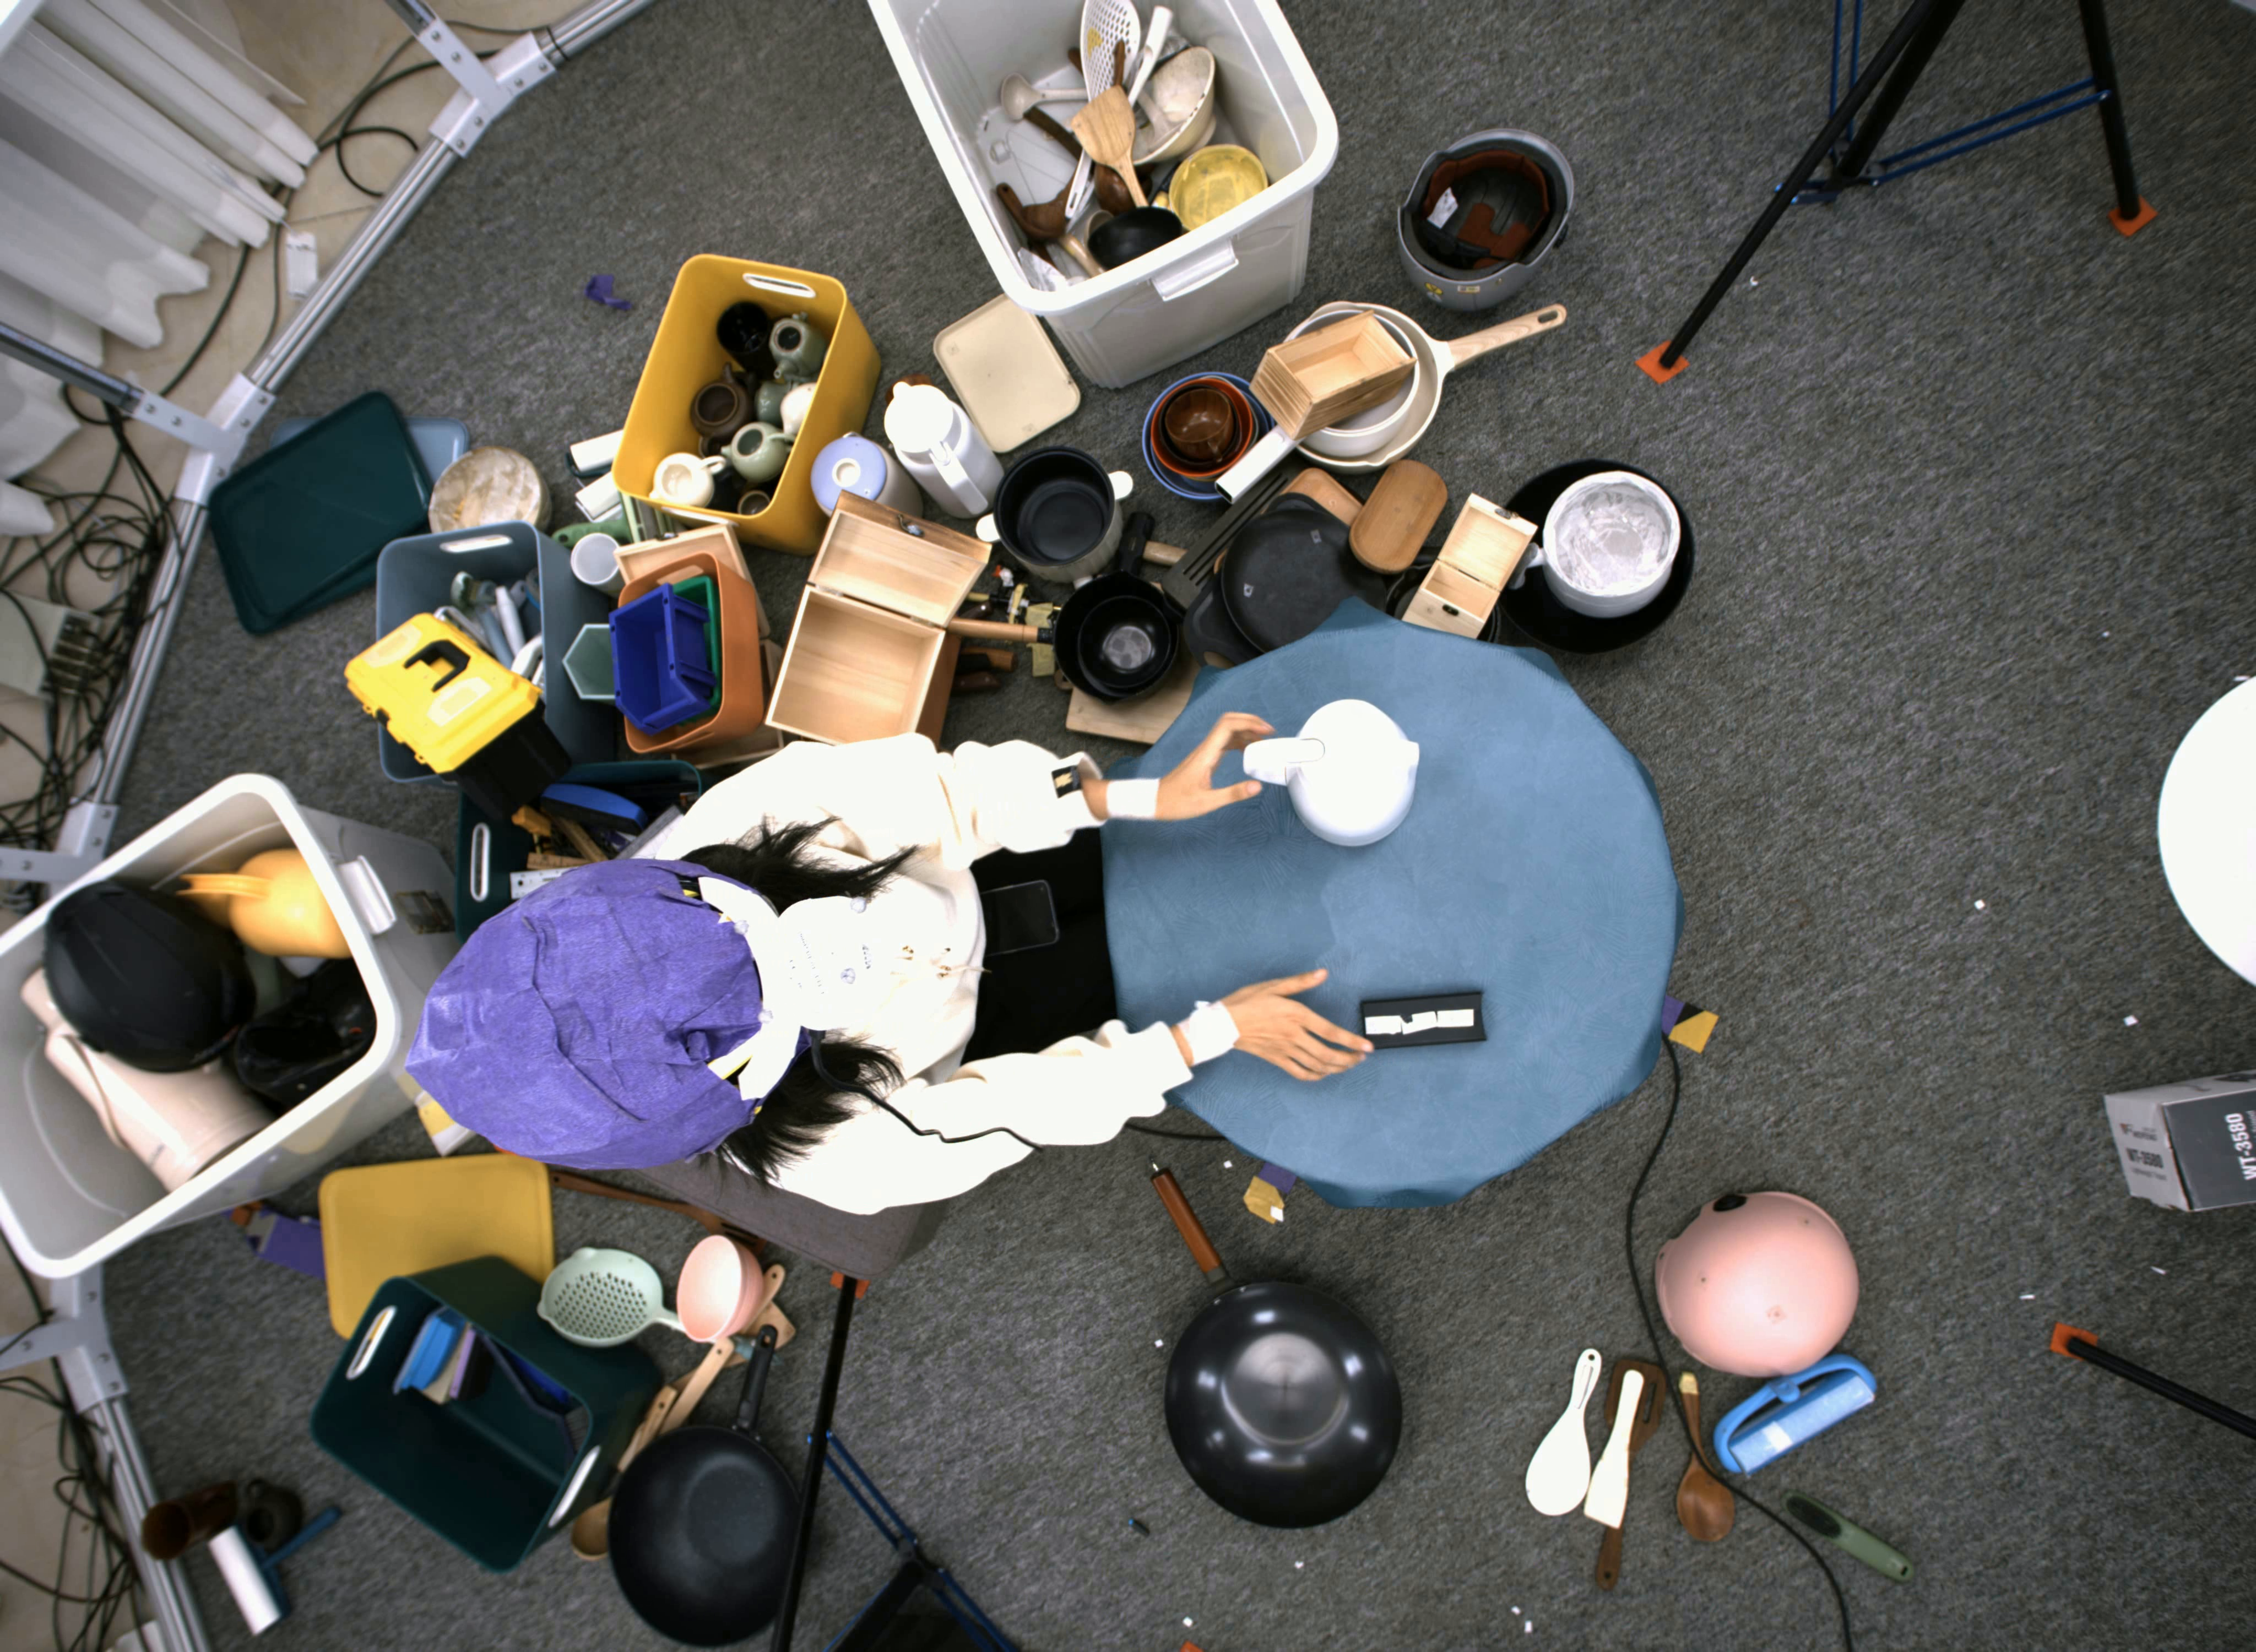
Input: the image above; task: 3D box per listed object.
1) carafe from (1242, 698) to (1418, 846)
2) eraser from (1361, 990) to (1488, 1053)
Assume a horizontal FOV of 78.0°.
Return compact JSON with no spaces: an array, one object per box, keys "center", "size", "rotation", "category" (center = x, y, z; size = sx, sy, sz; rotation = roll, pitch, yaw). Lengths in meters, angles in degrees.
[{"center":[0.198,-0.057,1.354],"size":[0.168,0.249,0.132],"rotation":[1,85,11],"category":"carafe"},{"center":[0.306,0.201,1.432],"size":[0.126,0.030,0.053],"rotation":[-8,82,10],"category":"eraser"}]
